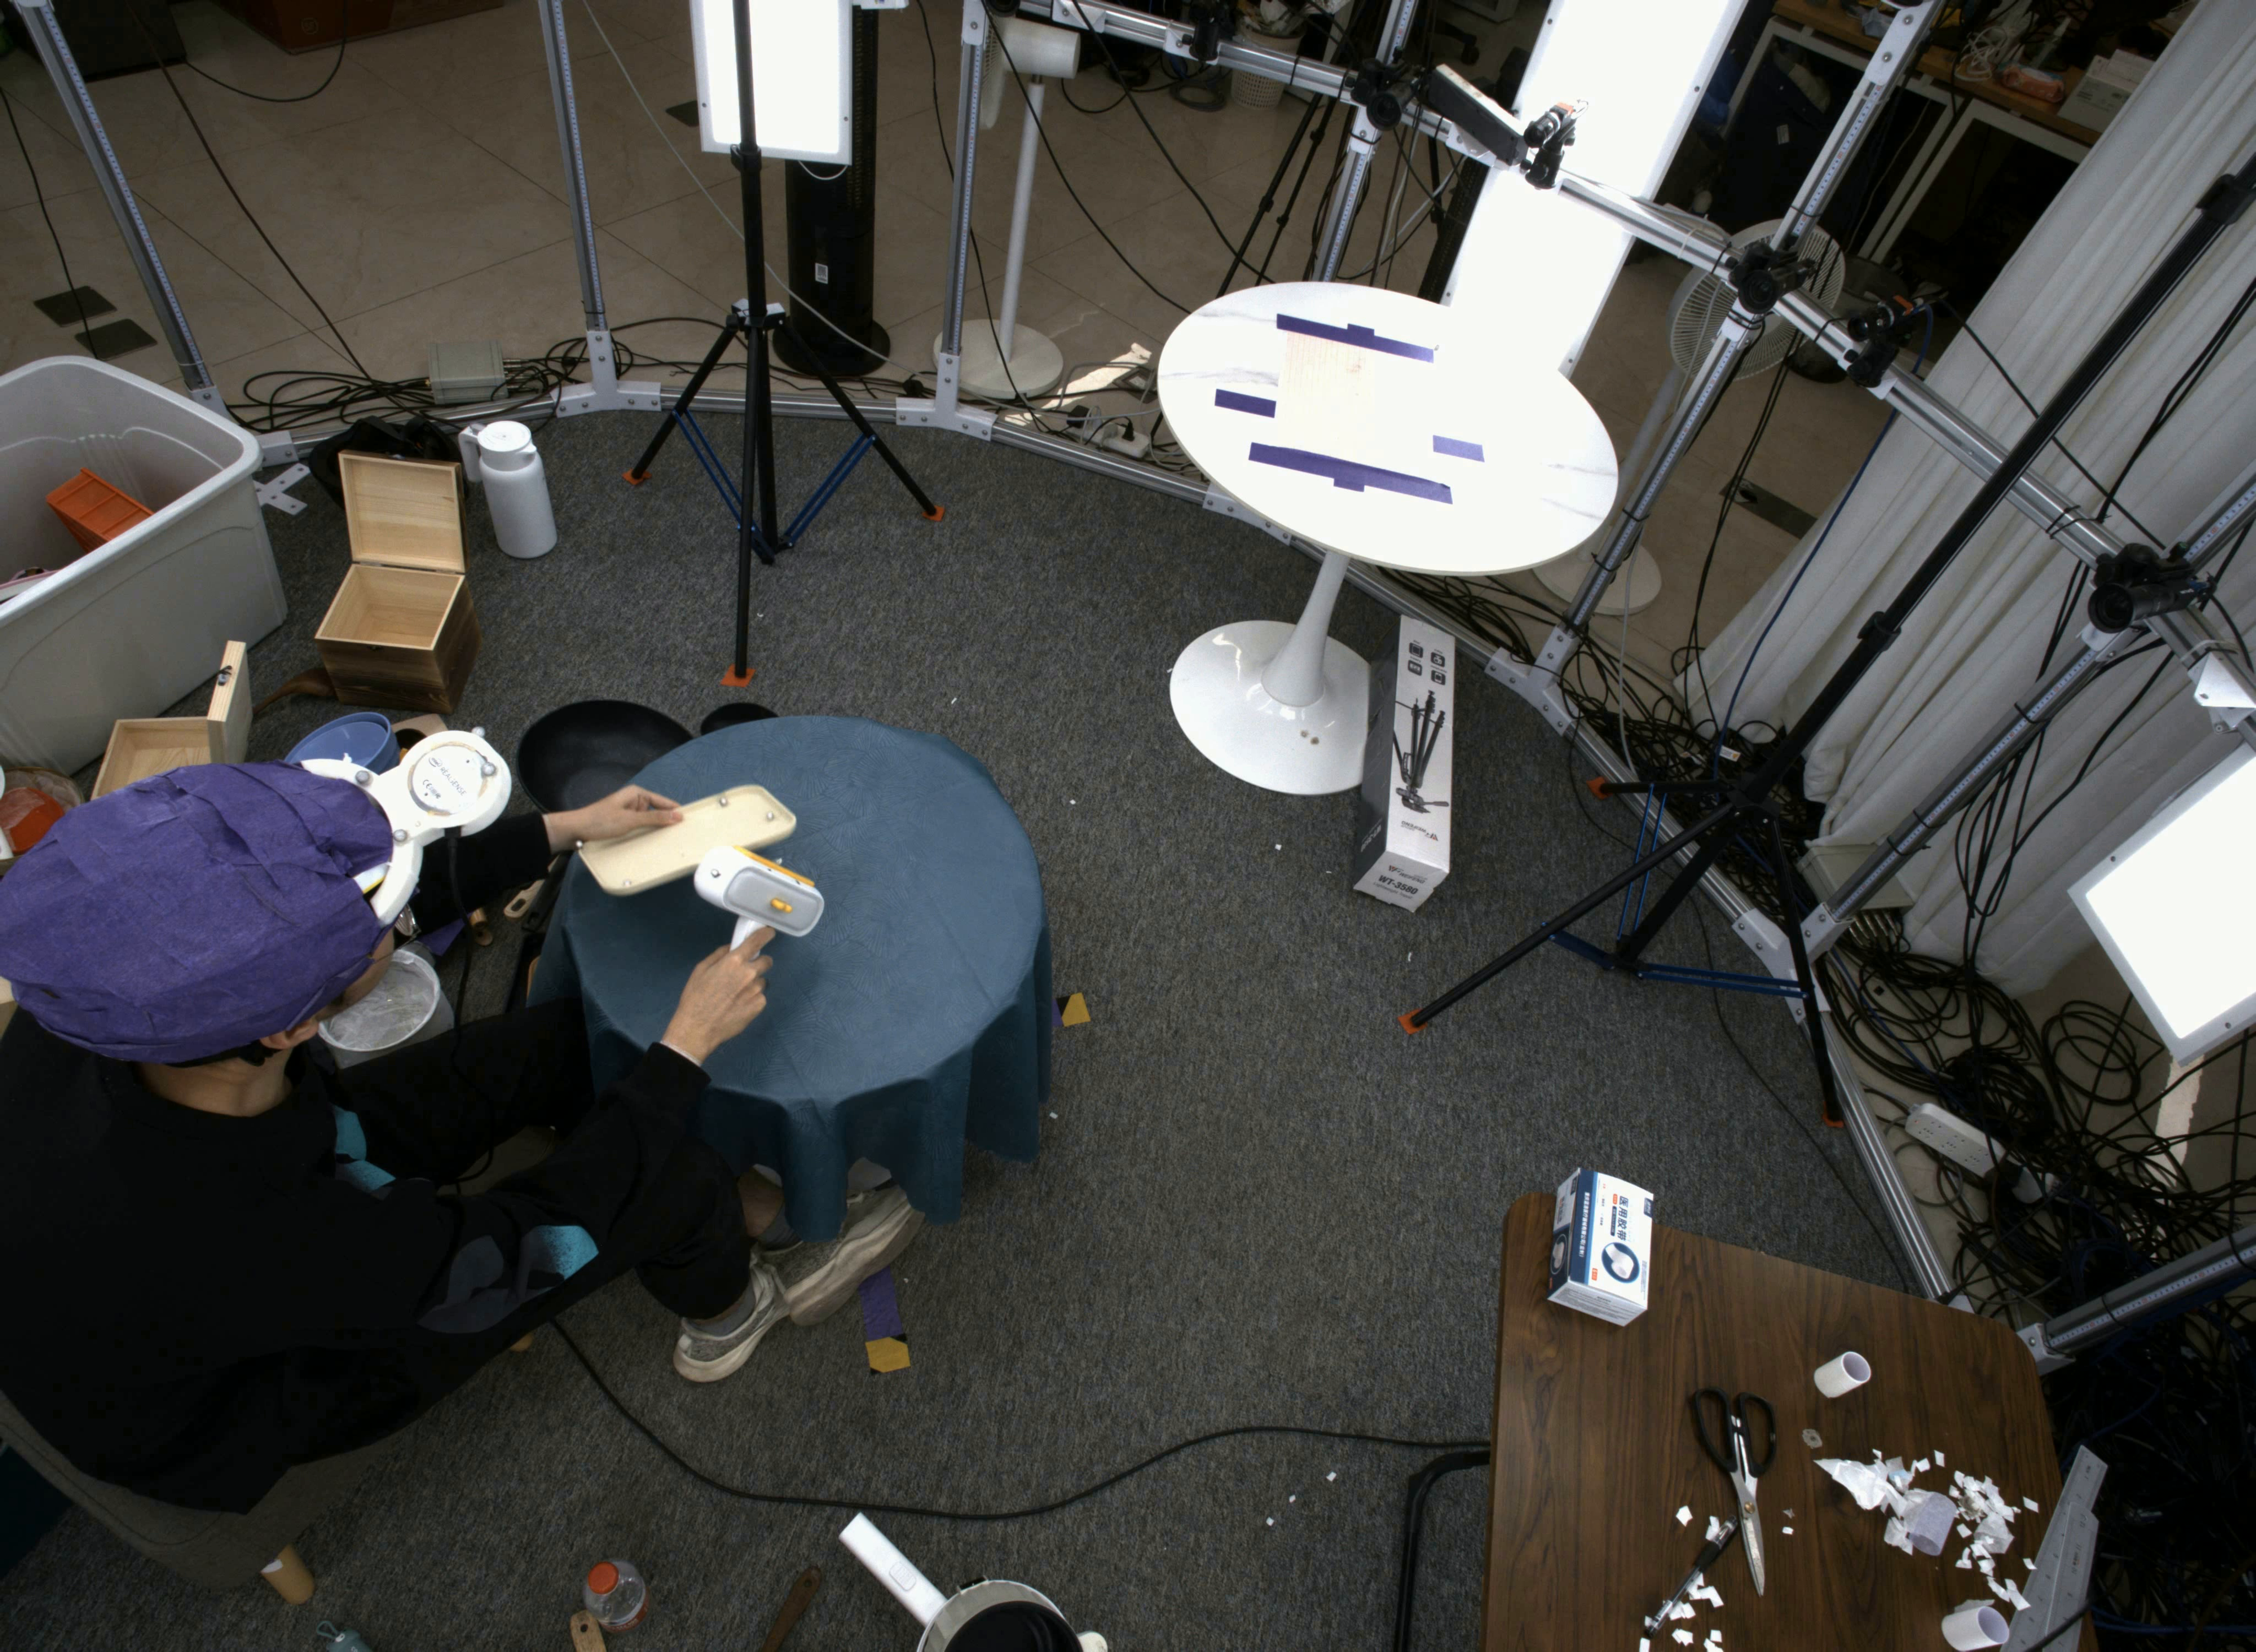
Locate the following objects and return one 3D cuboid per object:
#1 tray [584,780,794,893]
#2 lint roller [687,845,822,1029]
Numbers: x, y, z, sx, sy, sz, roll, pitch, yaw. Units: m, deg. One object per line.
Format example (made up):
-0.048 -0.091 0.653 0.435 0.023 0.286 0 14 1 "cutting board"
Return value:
-0.533 0.010 1.555 0.241 0.018 0.165 -23 32 -28 "tray"
-0.439 0.130 1.478 0.072 0.197 0.193 19 85 21 "lint roller"
